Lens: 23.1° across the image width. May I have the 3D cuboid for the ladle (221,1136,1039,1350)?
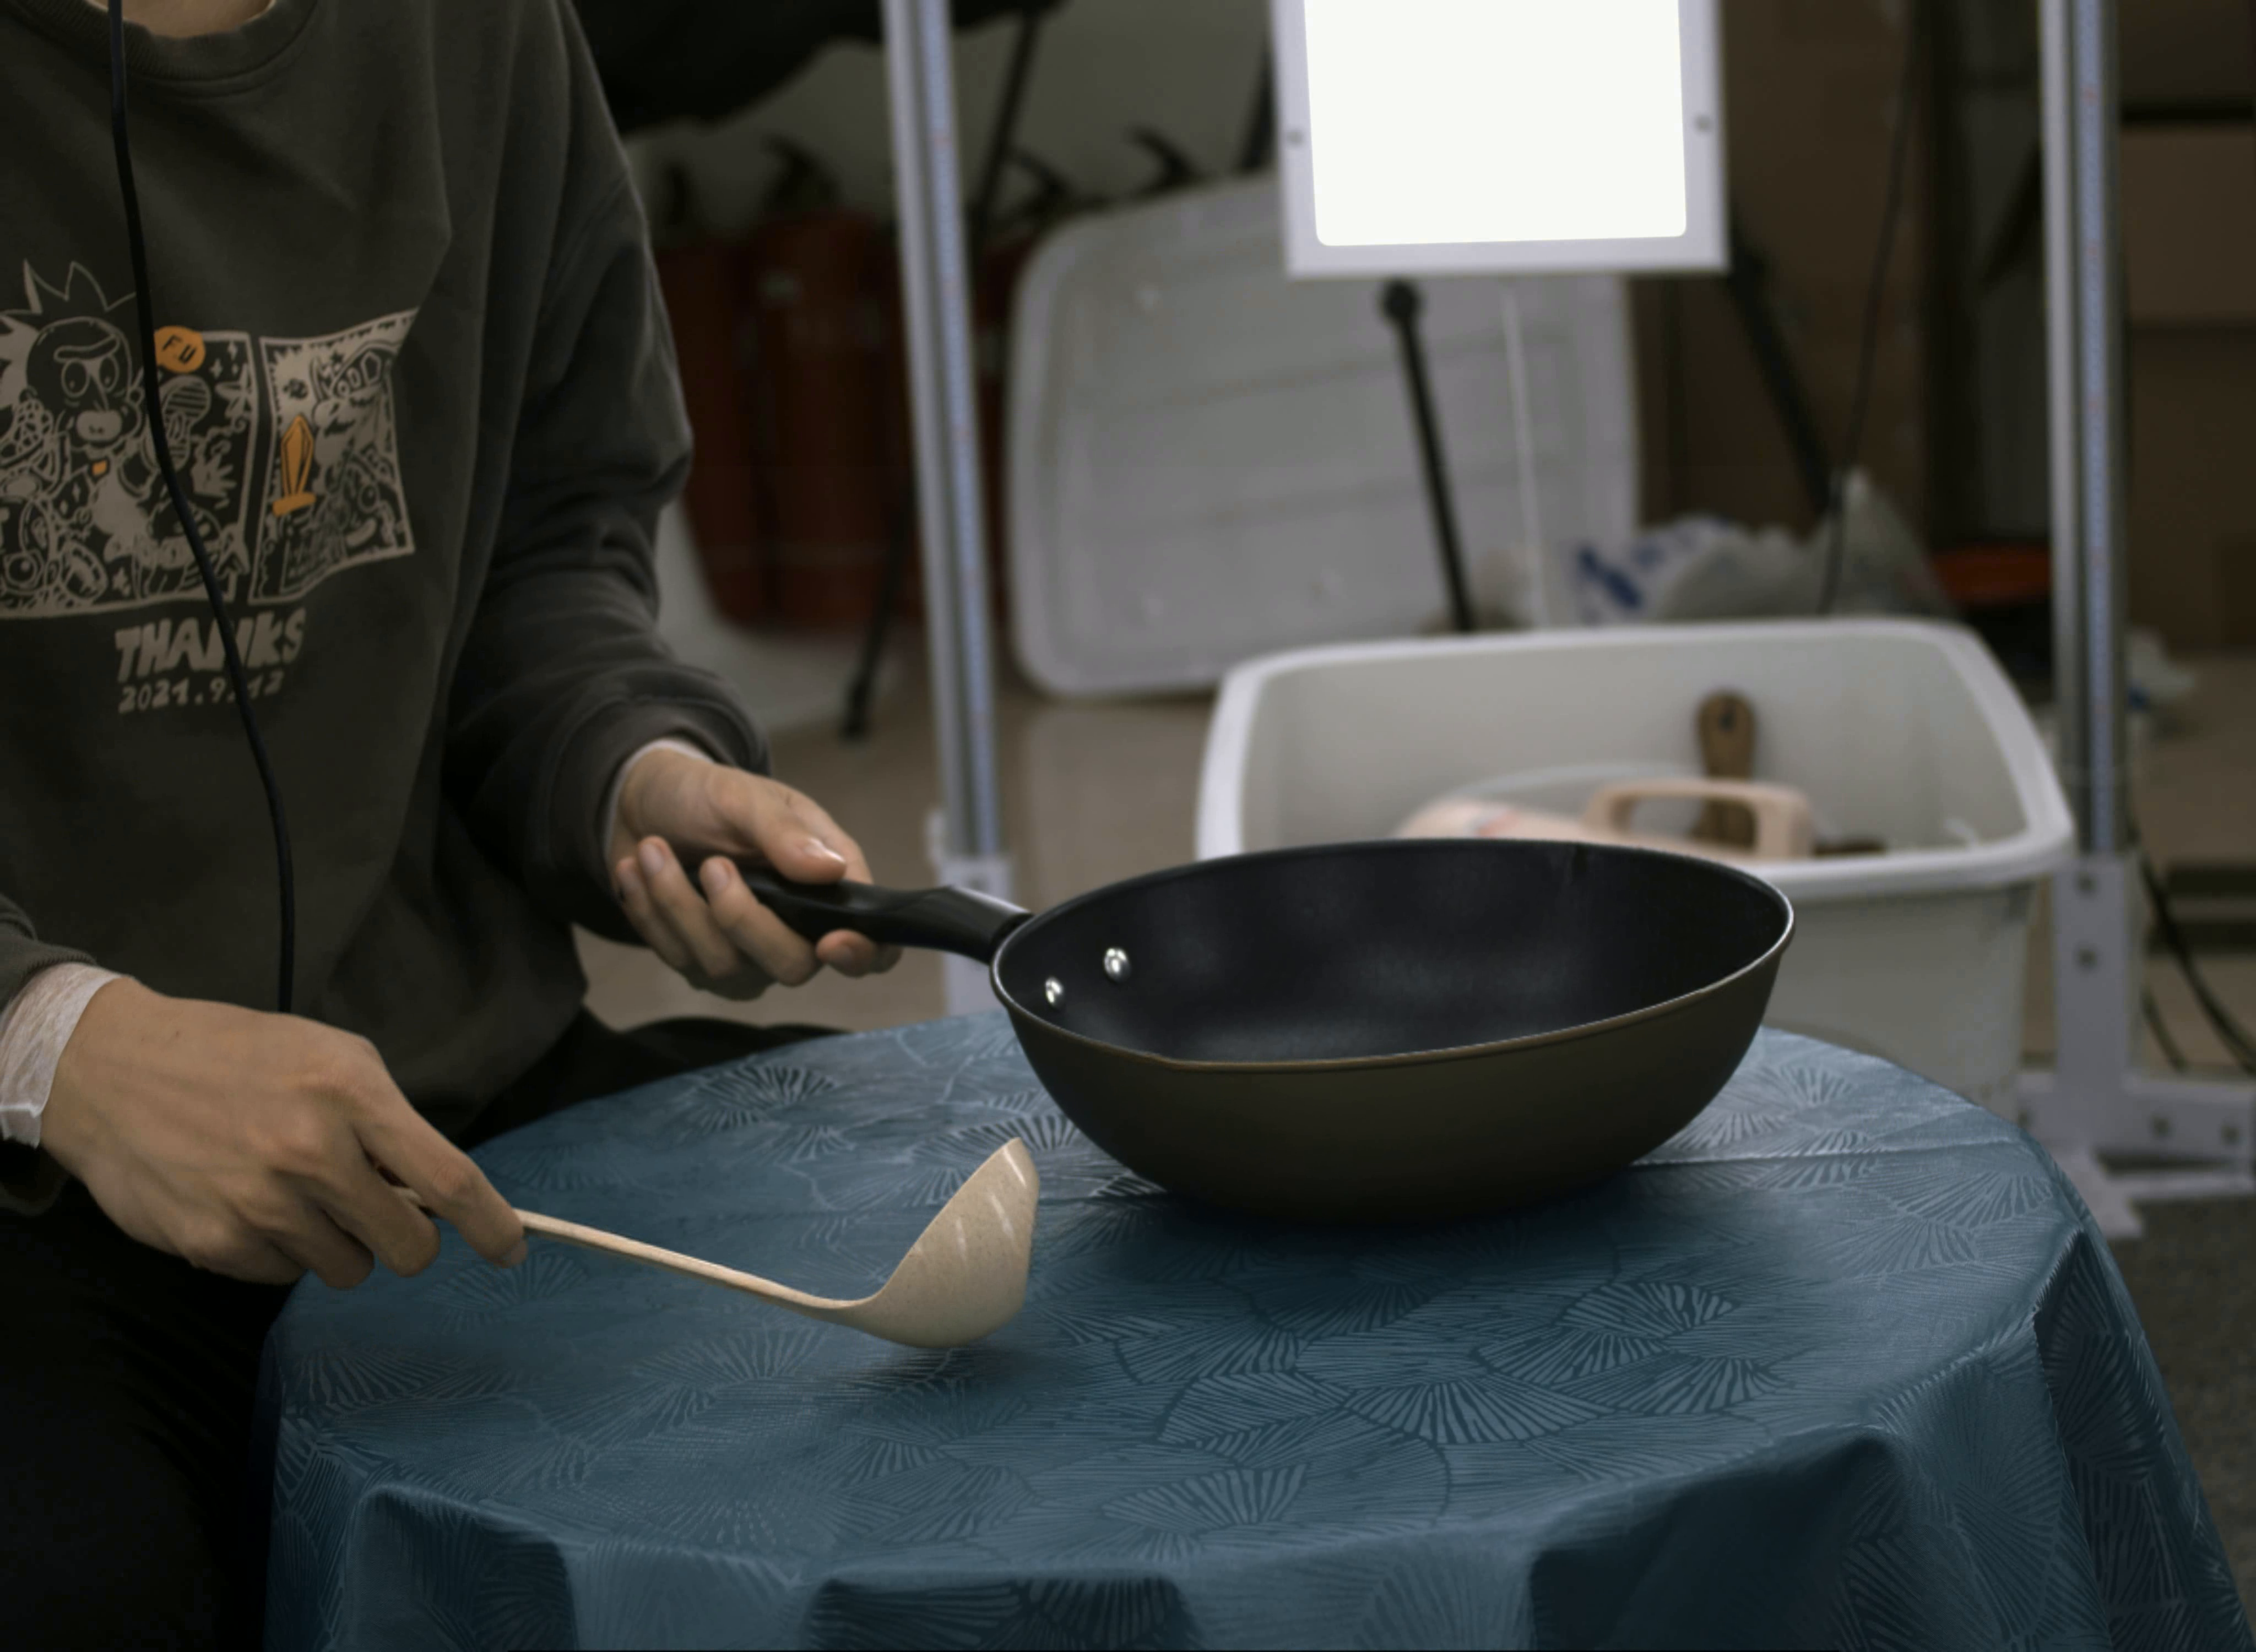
[{"bbox_3d":[-0.153,0.107,1.738,0.254,0.072,0.072,13,-13,1],"label":"ladle"}]

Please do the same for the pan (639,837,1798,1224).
[{"bbox_3d":[0.016,0.070,1.945,0.472,0.087,0.281,3,16,33],"label":"pan"}]
